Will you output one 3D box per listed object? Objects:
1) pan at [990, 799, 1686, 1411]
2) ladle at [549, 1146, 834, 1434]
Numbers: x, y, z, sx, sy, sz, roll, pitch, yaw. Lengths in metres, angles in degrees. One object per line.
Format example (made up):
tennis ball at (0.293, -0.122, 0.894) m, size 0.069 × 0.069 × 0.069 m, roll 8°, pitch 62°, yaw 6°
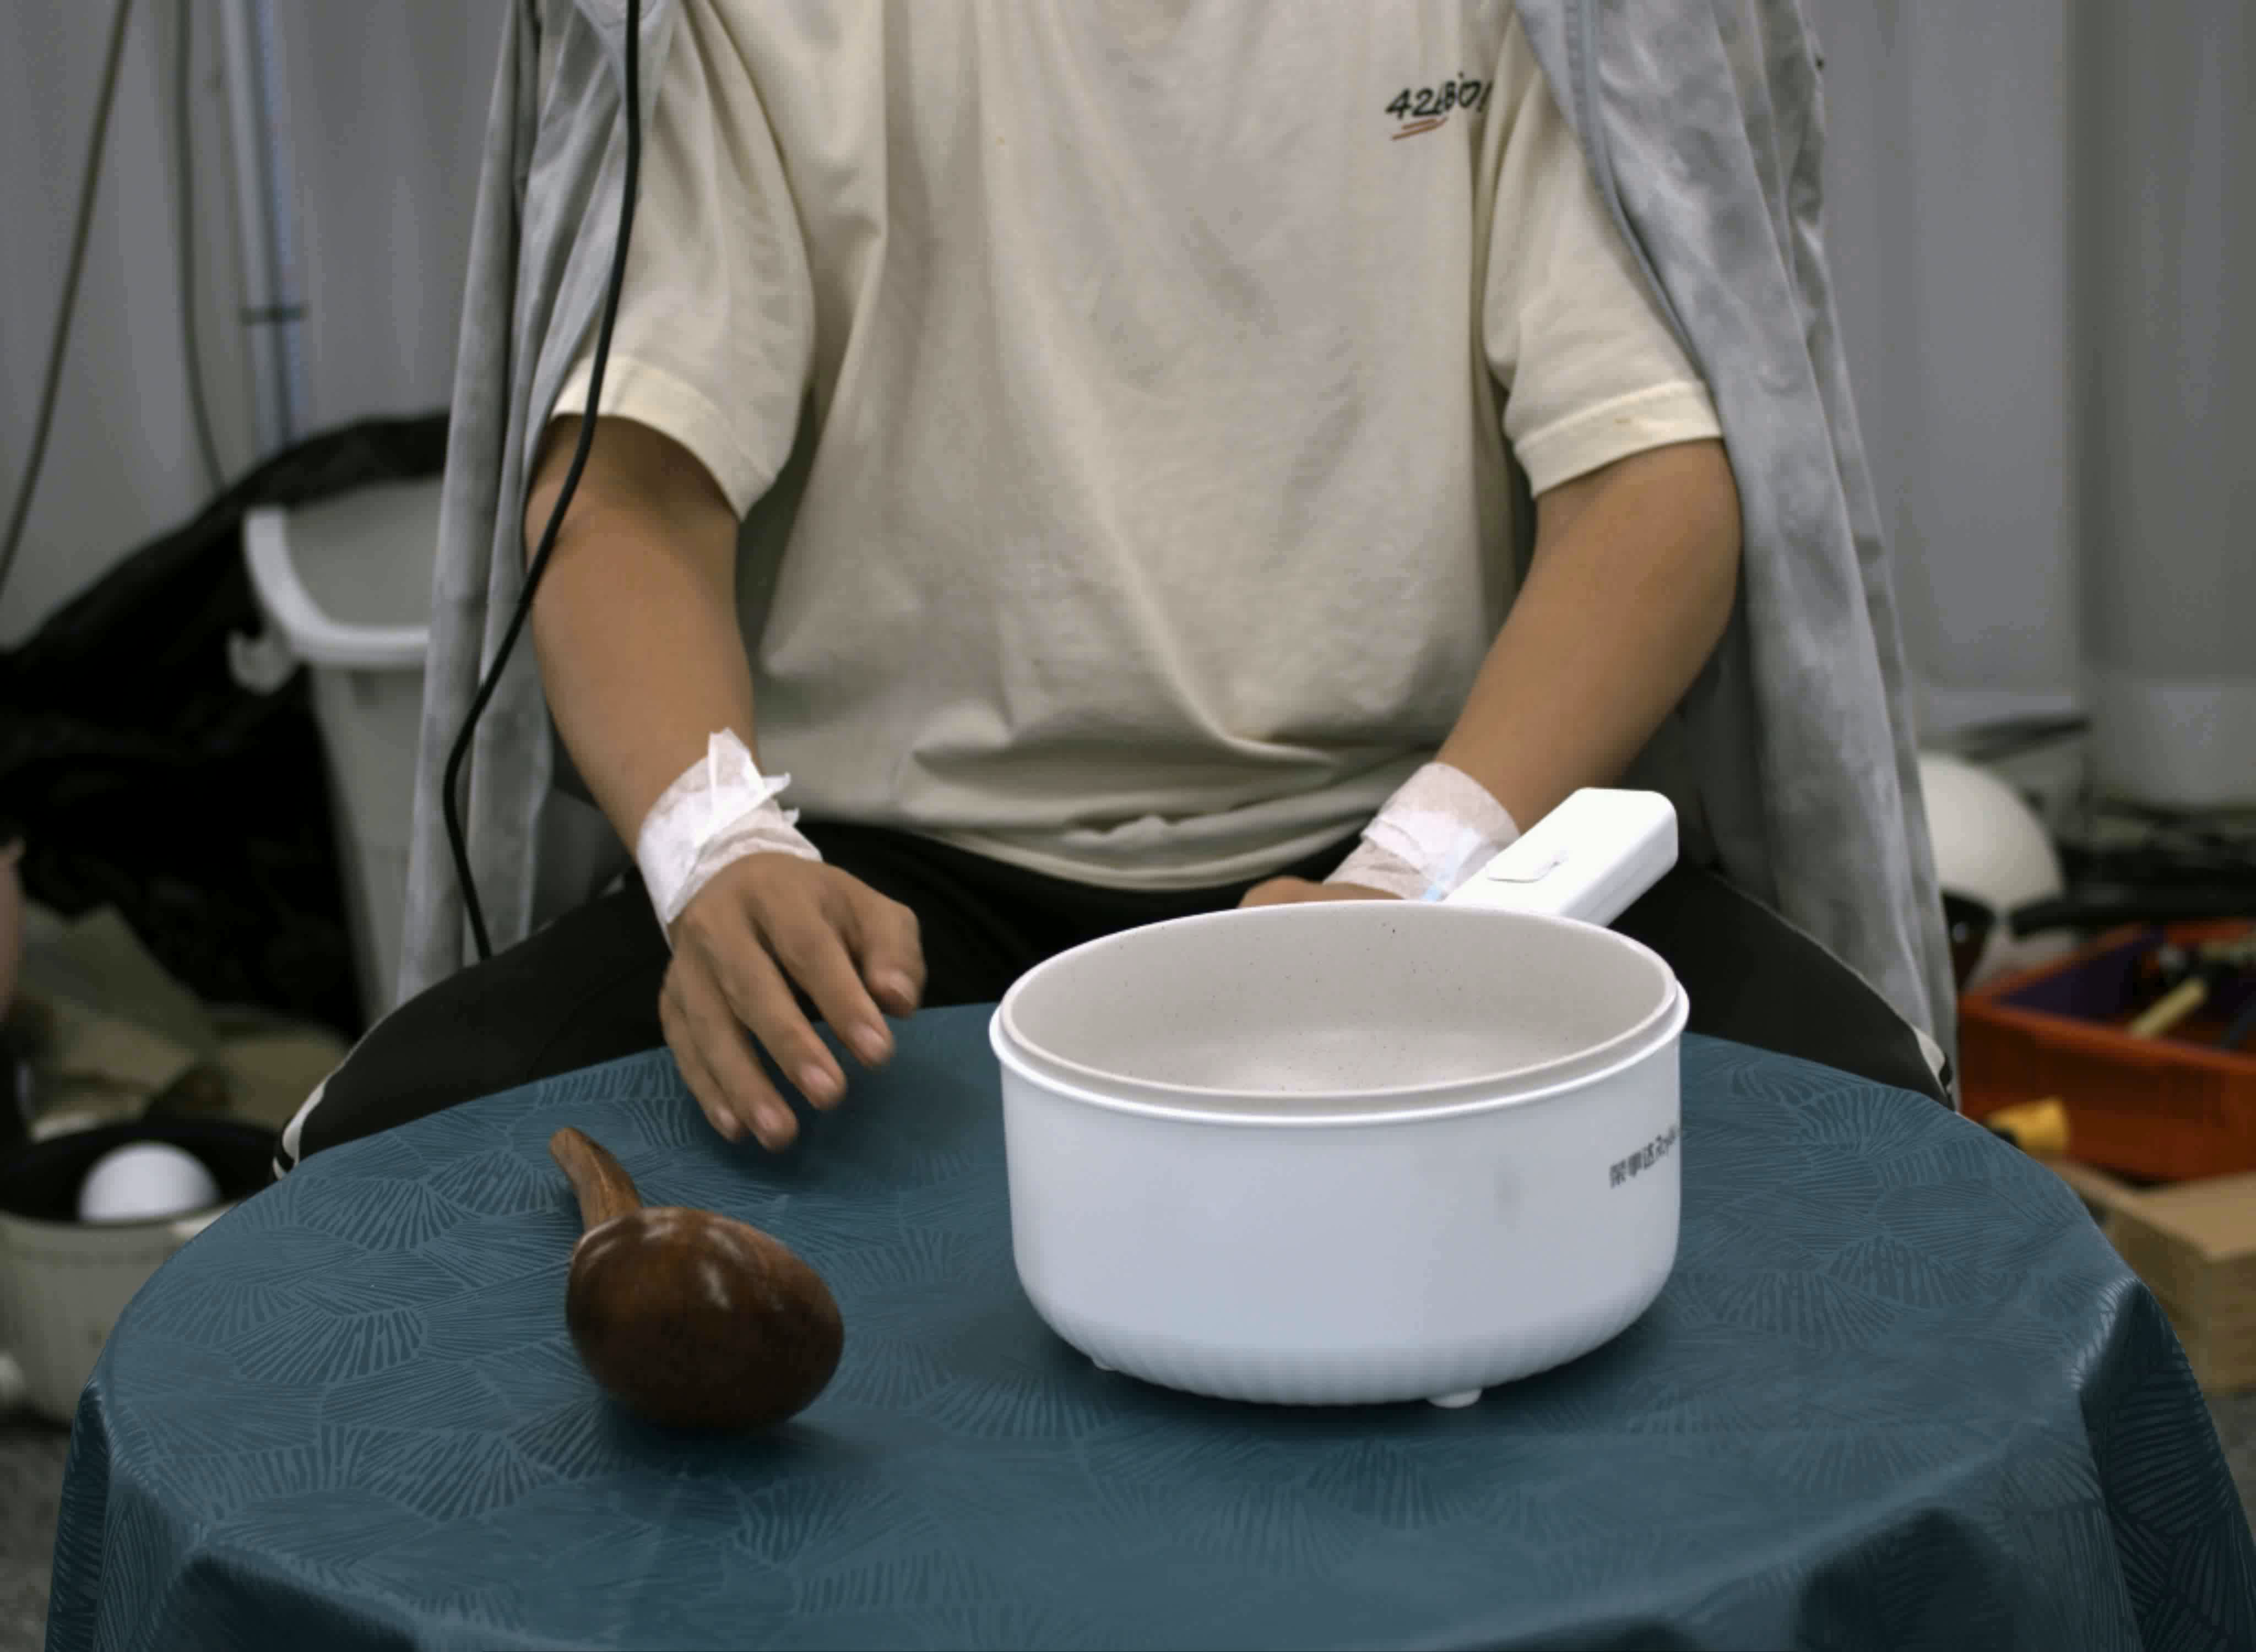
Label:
pan at (0.093, 0.079, 1.650) m, size 0.201 × 0.102 × 0.355 m, roll 2°, pitch 15°, yaw 24°
ladle at (-0.133, 0.114, 1.616) m, size 0.076 × 0.081 × 0.276 m, roll -47°, pitch 12°, yaw 6°
